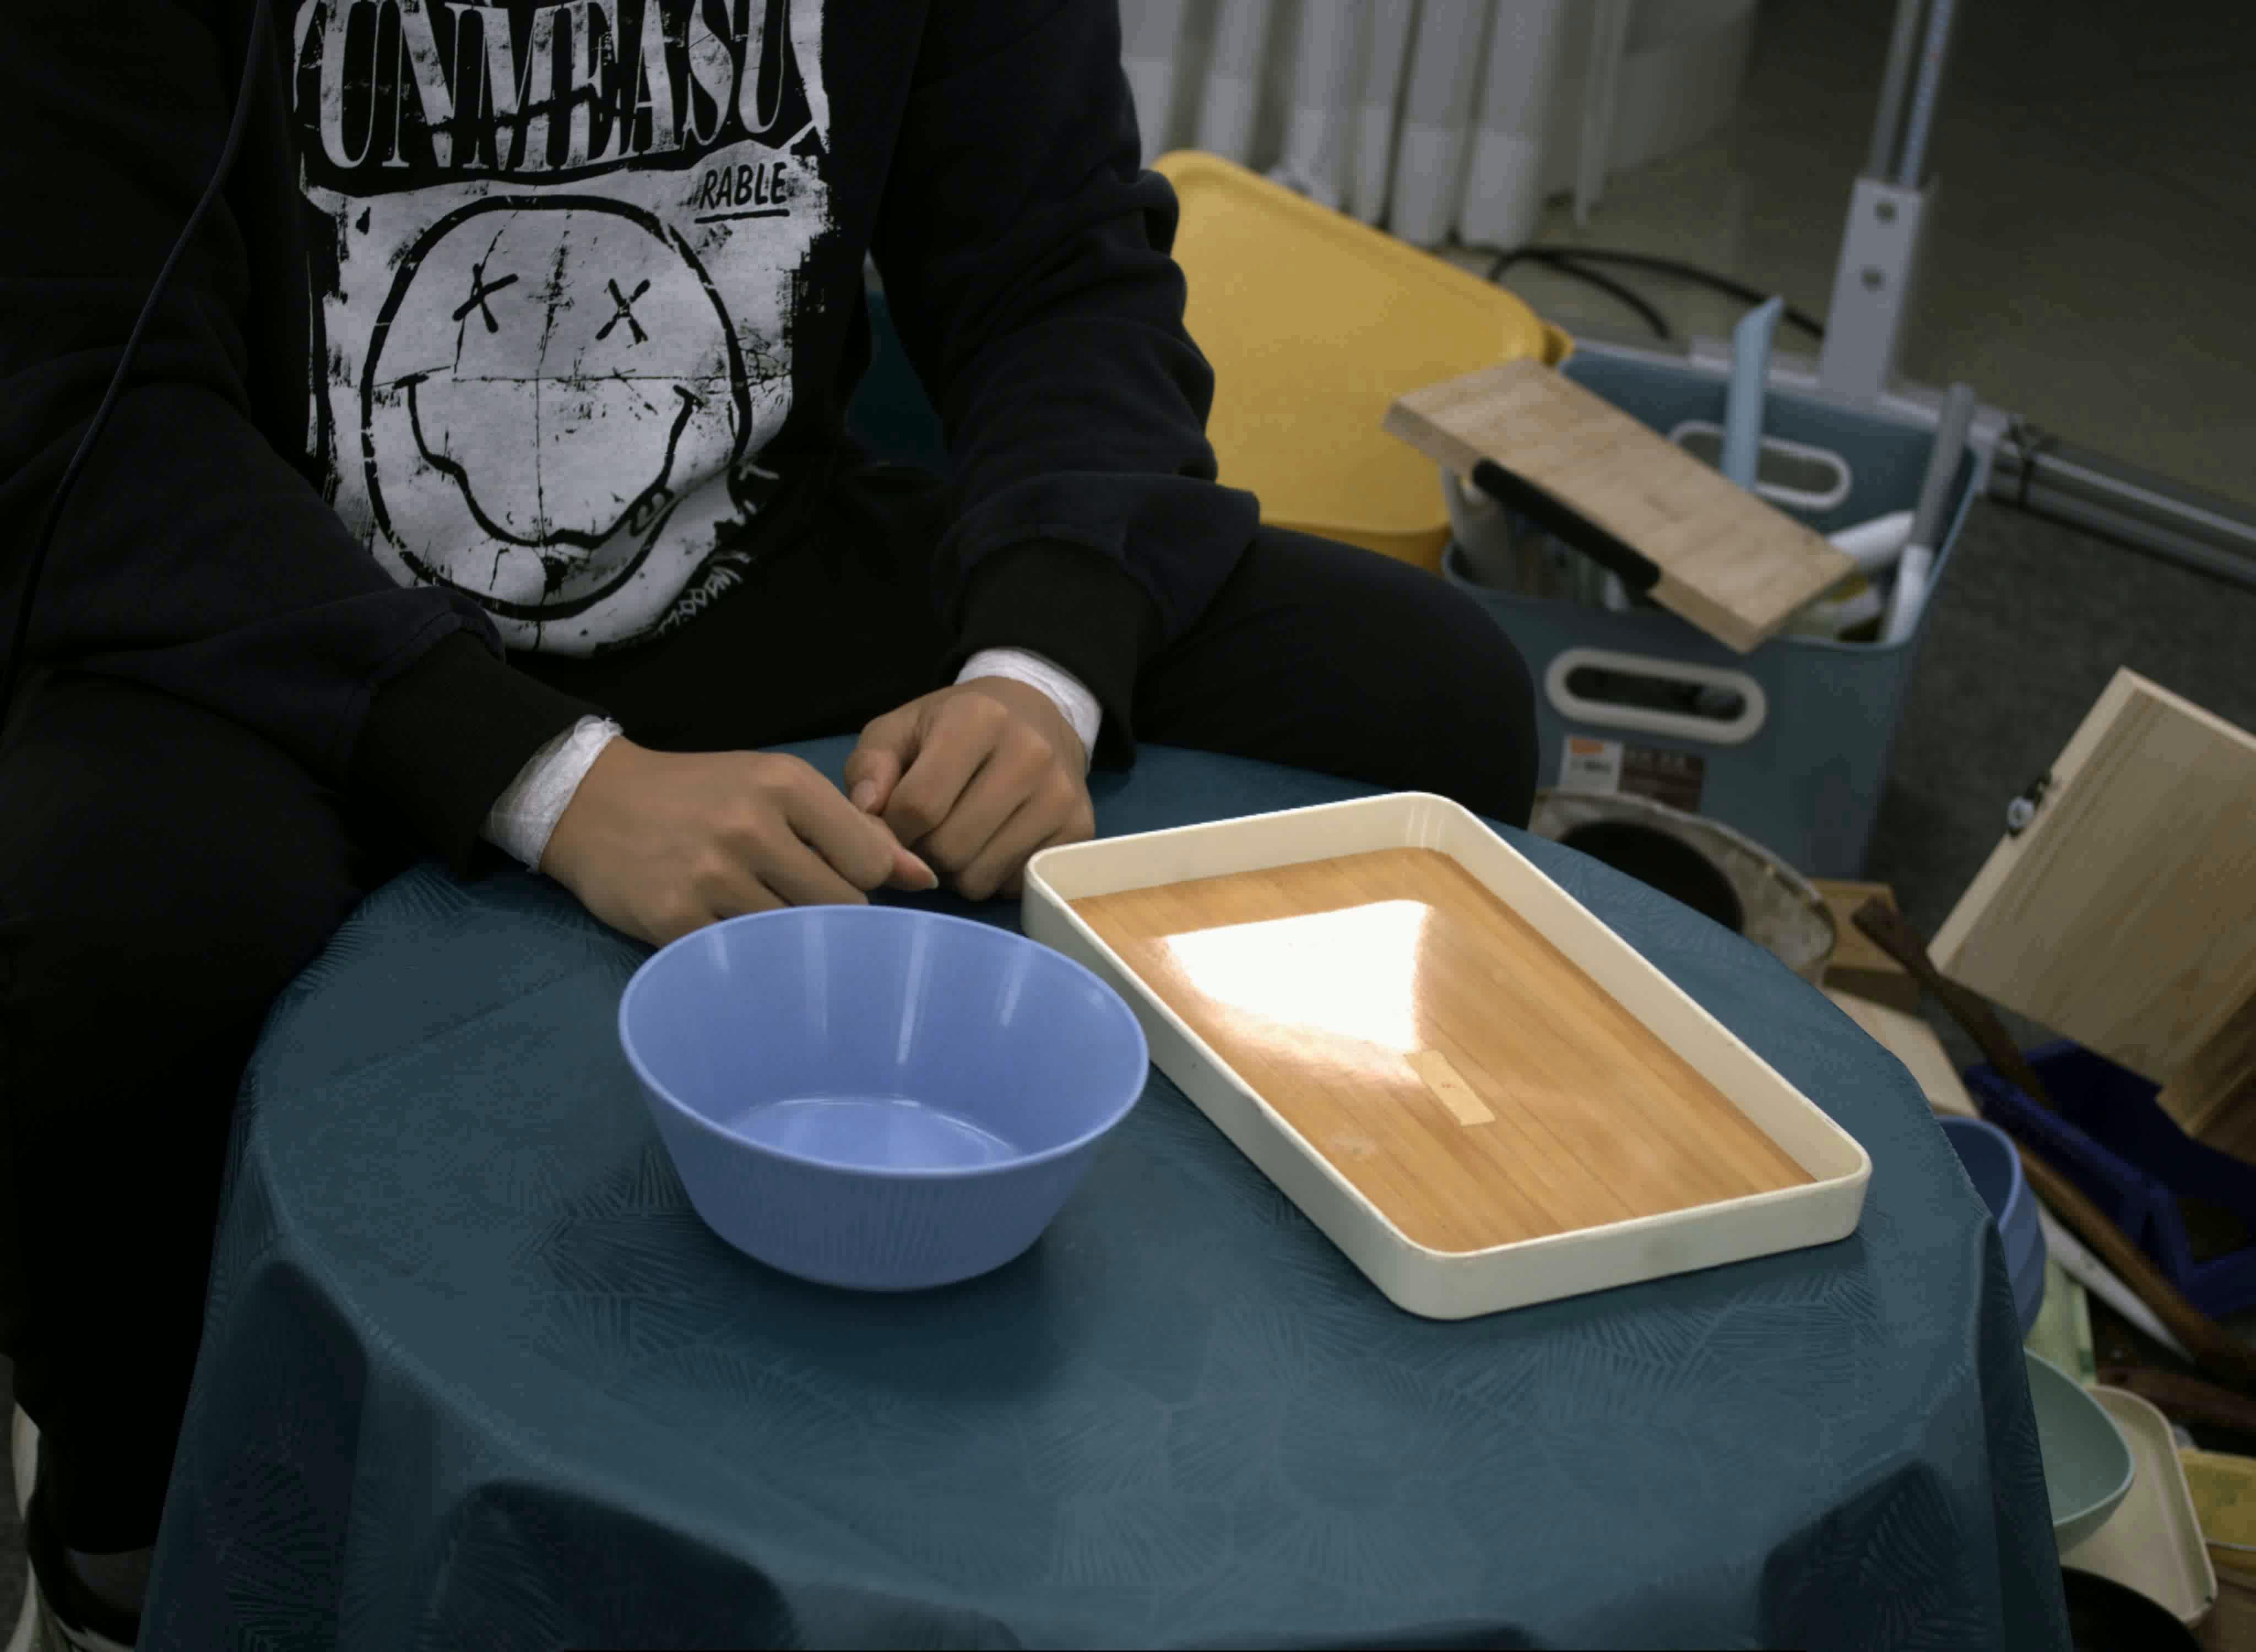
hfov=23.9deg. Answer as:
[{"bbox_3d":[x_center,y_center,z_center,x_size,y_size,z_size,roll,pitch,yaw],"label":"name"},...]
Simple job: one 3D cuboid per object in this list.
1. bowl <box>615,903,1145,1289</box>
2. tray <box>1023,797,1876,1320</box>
[{"bbox_3d":[-0.085,0.095,1.759,0.175,0.070,0.177,6,27,-3],"label":"bowl"},{"bbox_3d":[0.108,0.076,1.890,0.190,0.027,0.303,-8,30,-28],"label":"tray"}]
